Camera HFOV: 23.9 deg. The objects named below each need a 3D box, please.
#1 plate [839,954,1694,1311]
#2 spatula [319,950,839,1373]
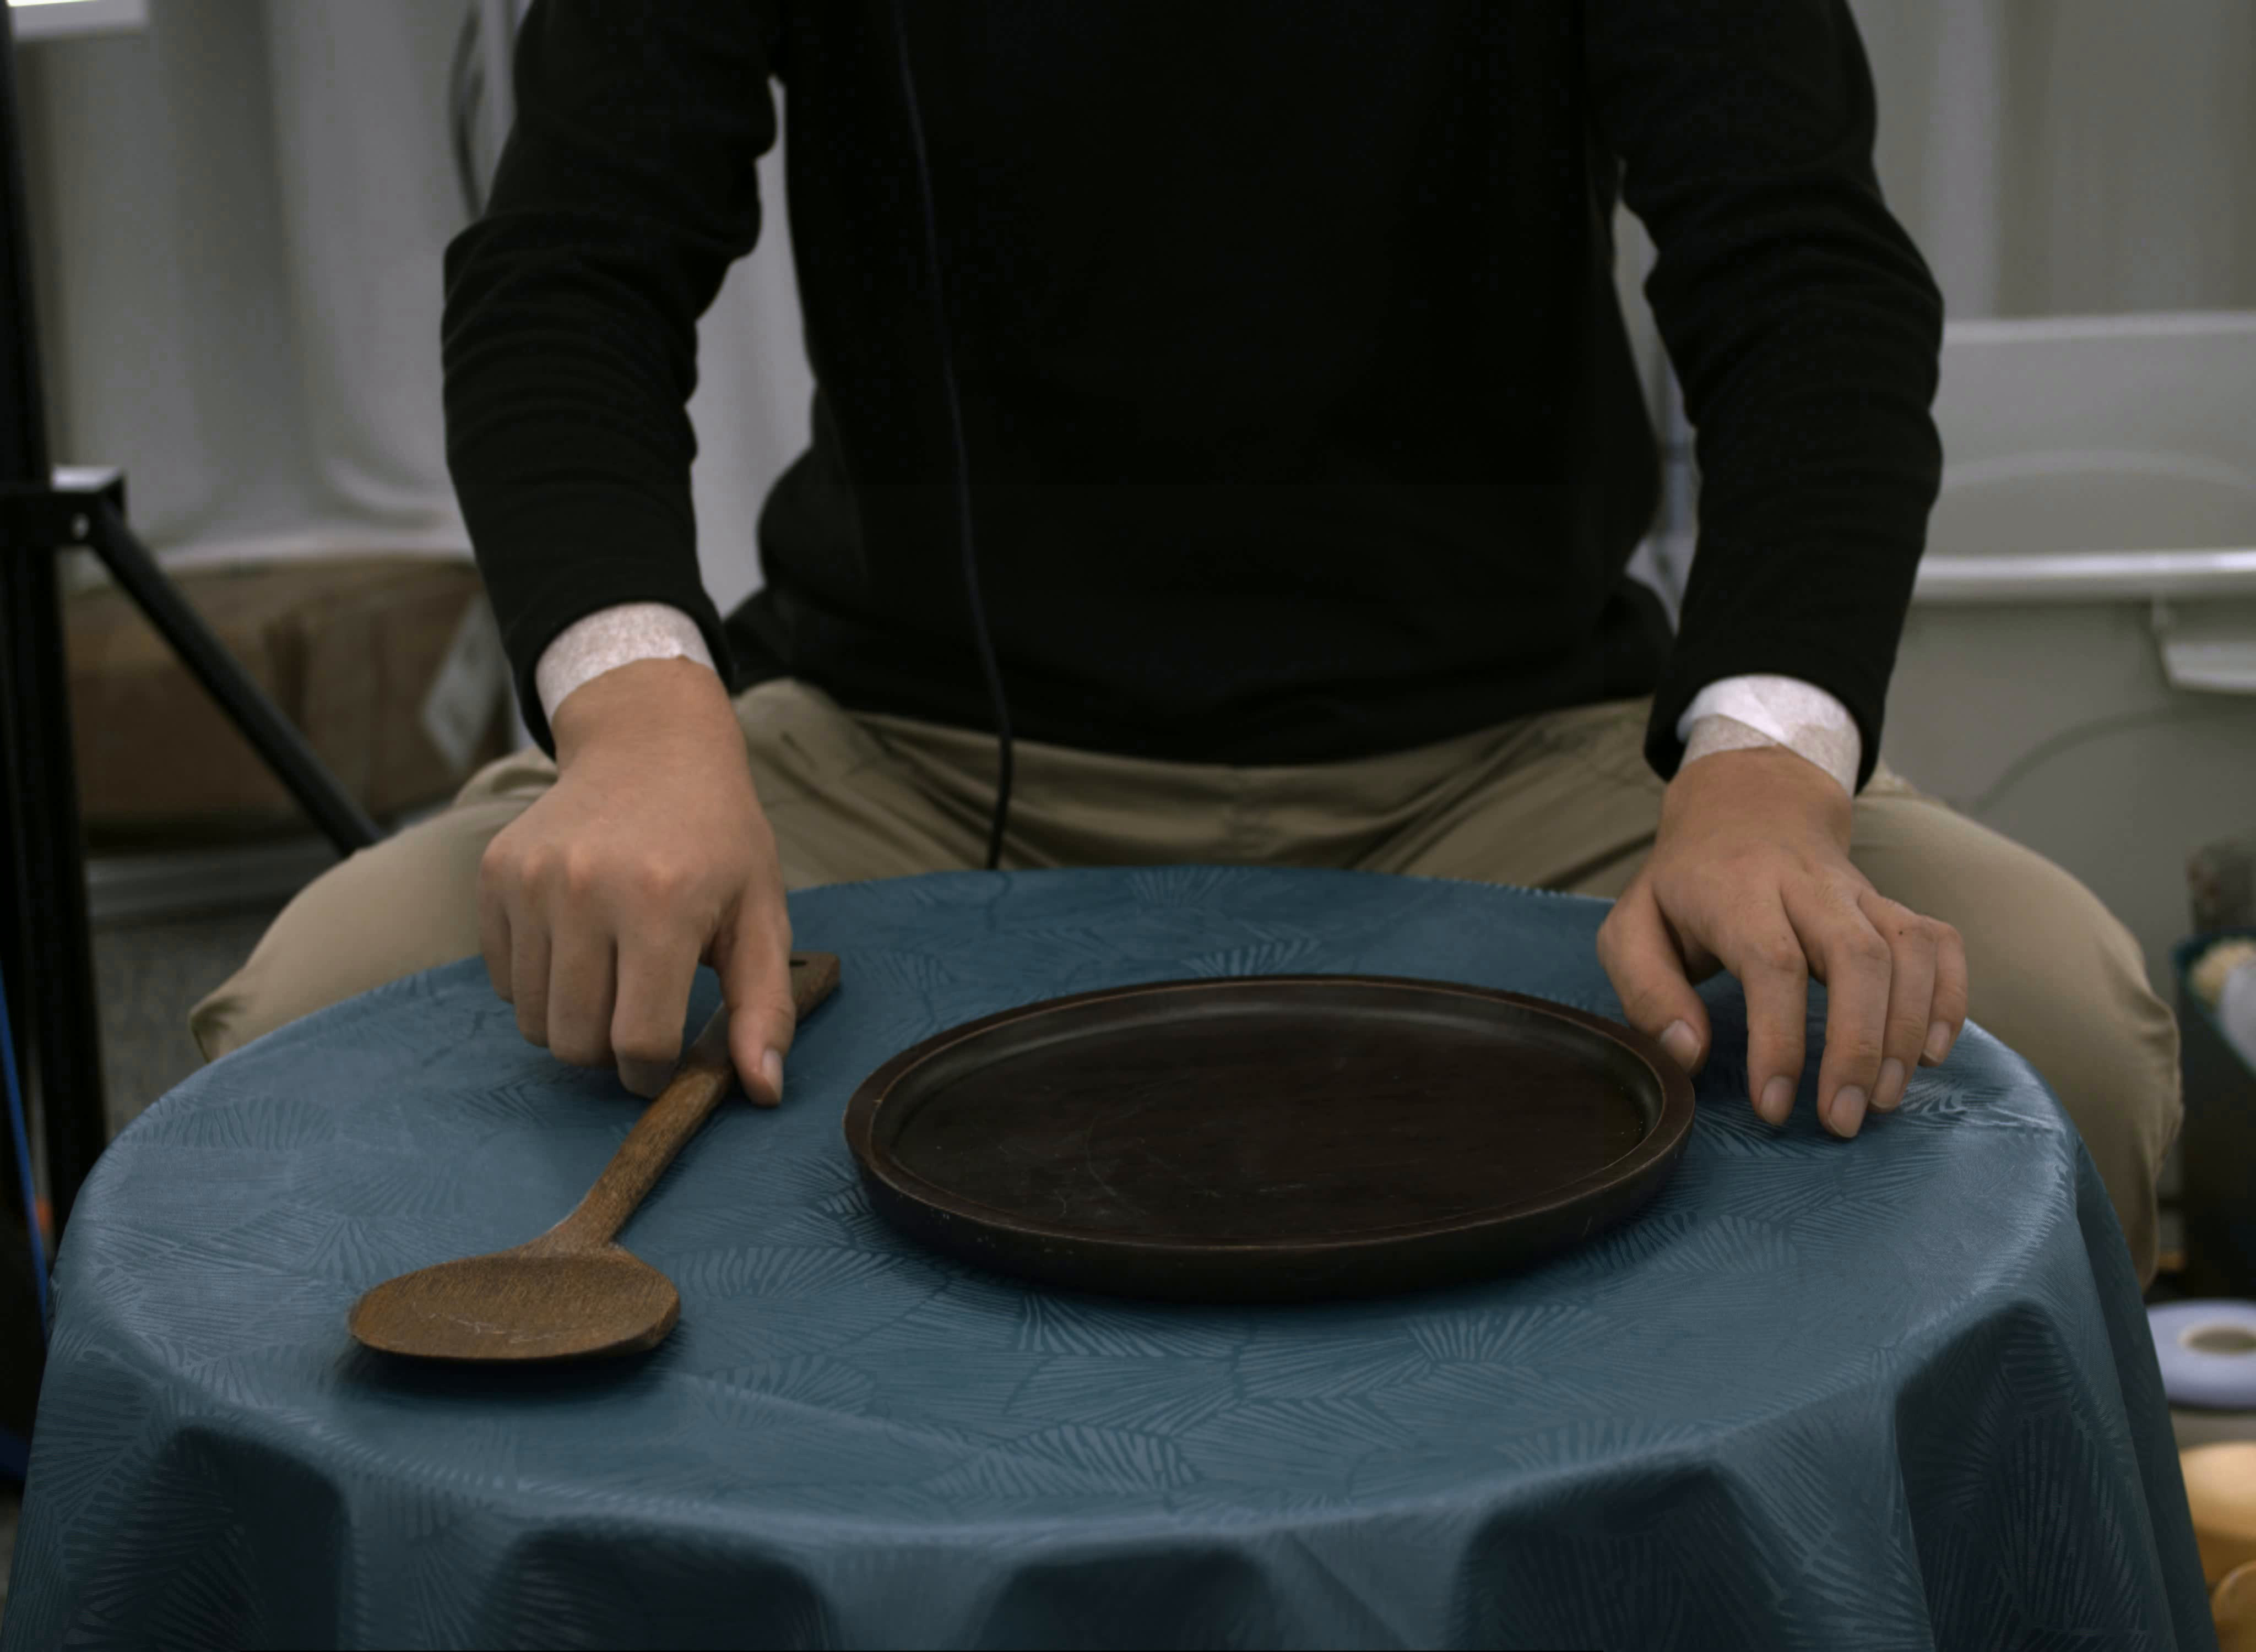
[{"bbox_3d":[0.041,0.091,1.567,0.253,0.029,0.256,-4,16,0],"label":"plate"},{"bbox_3d":[-0.142,0.094,1.603,0.096,0.016,0.384,1,16,11],"label":"spatula"}]
